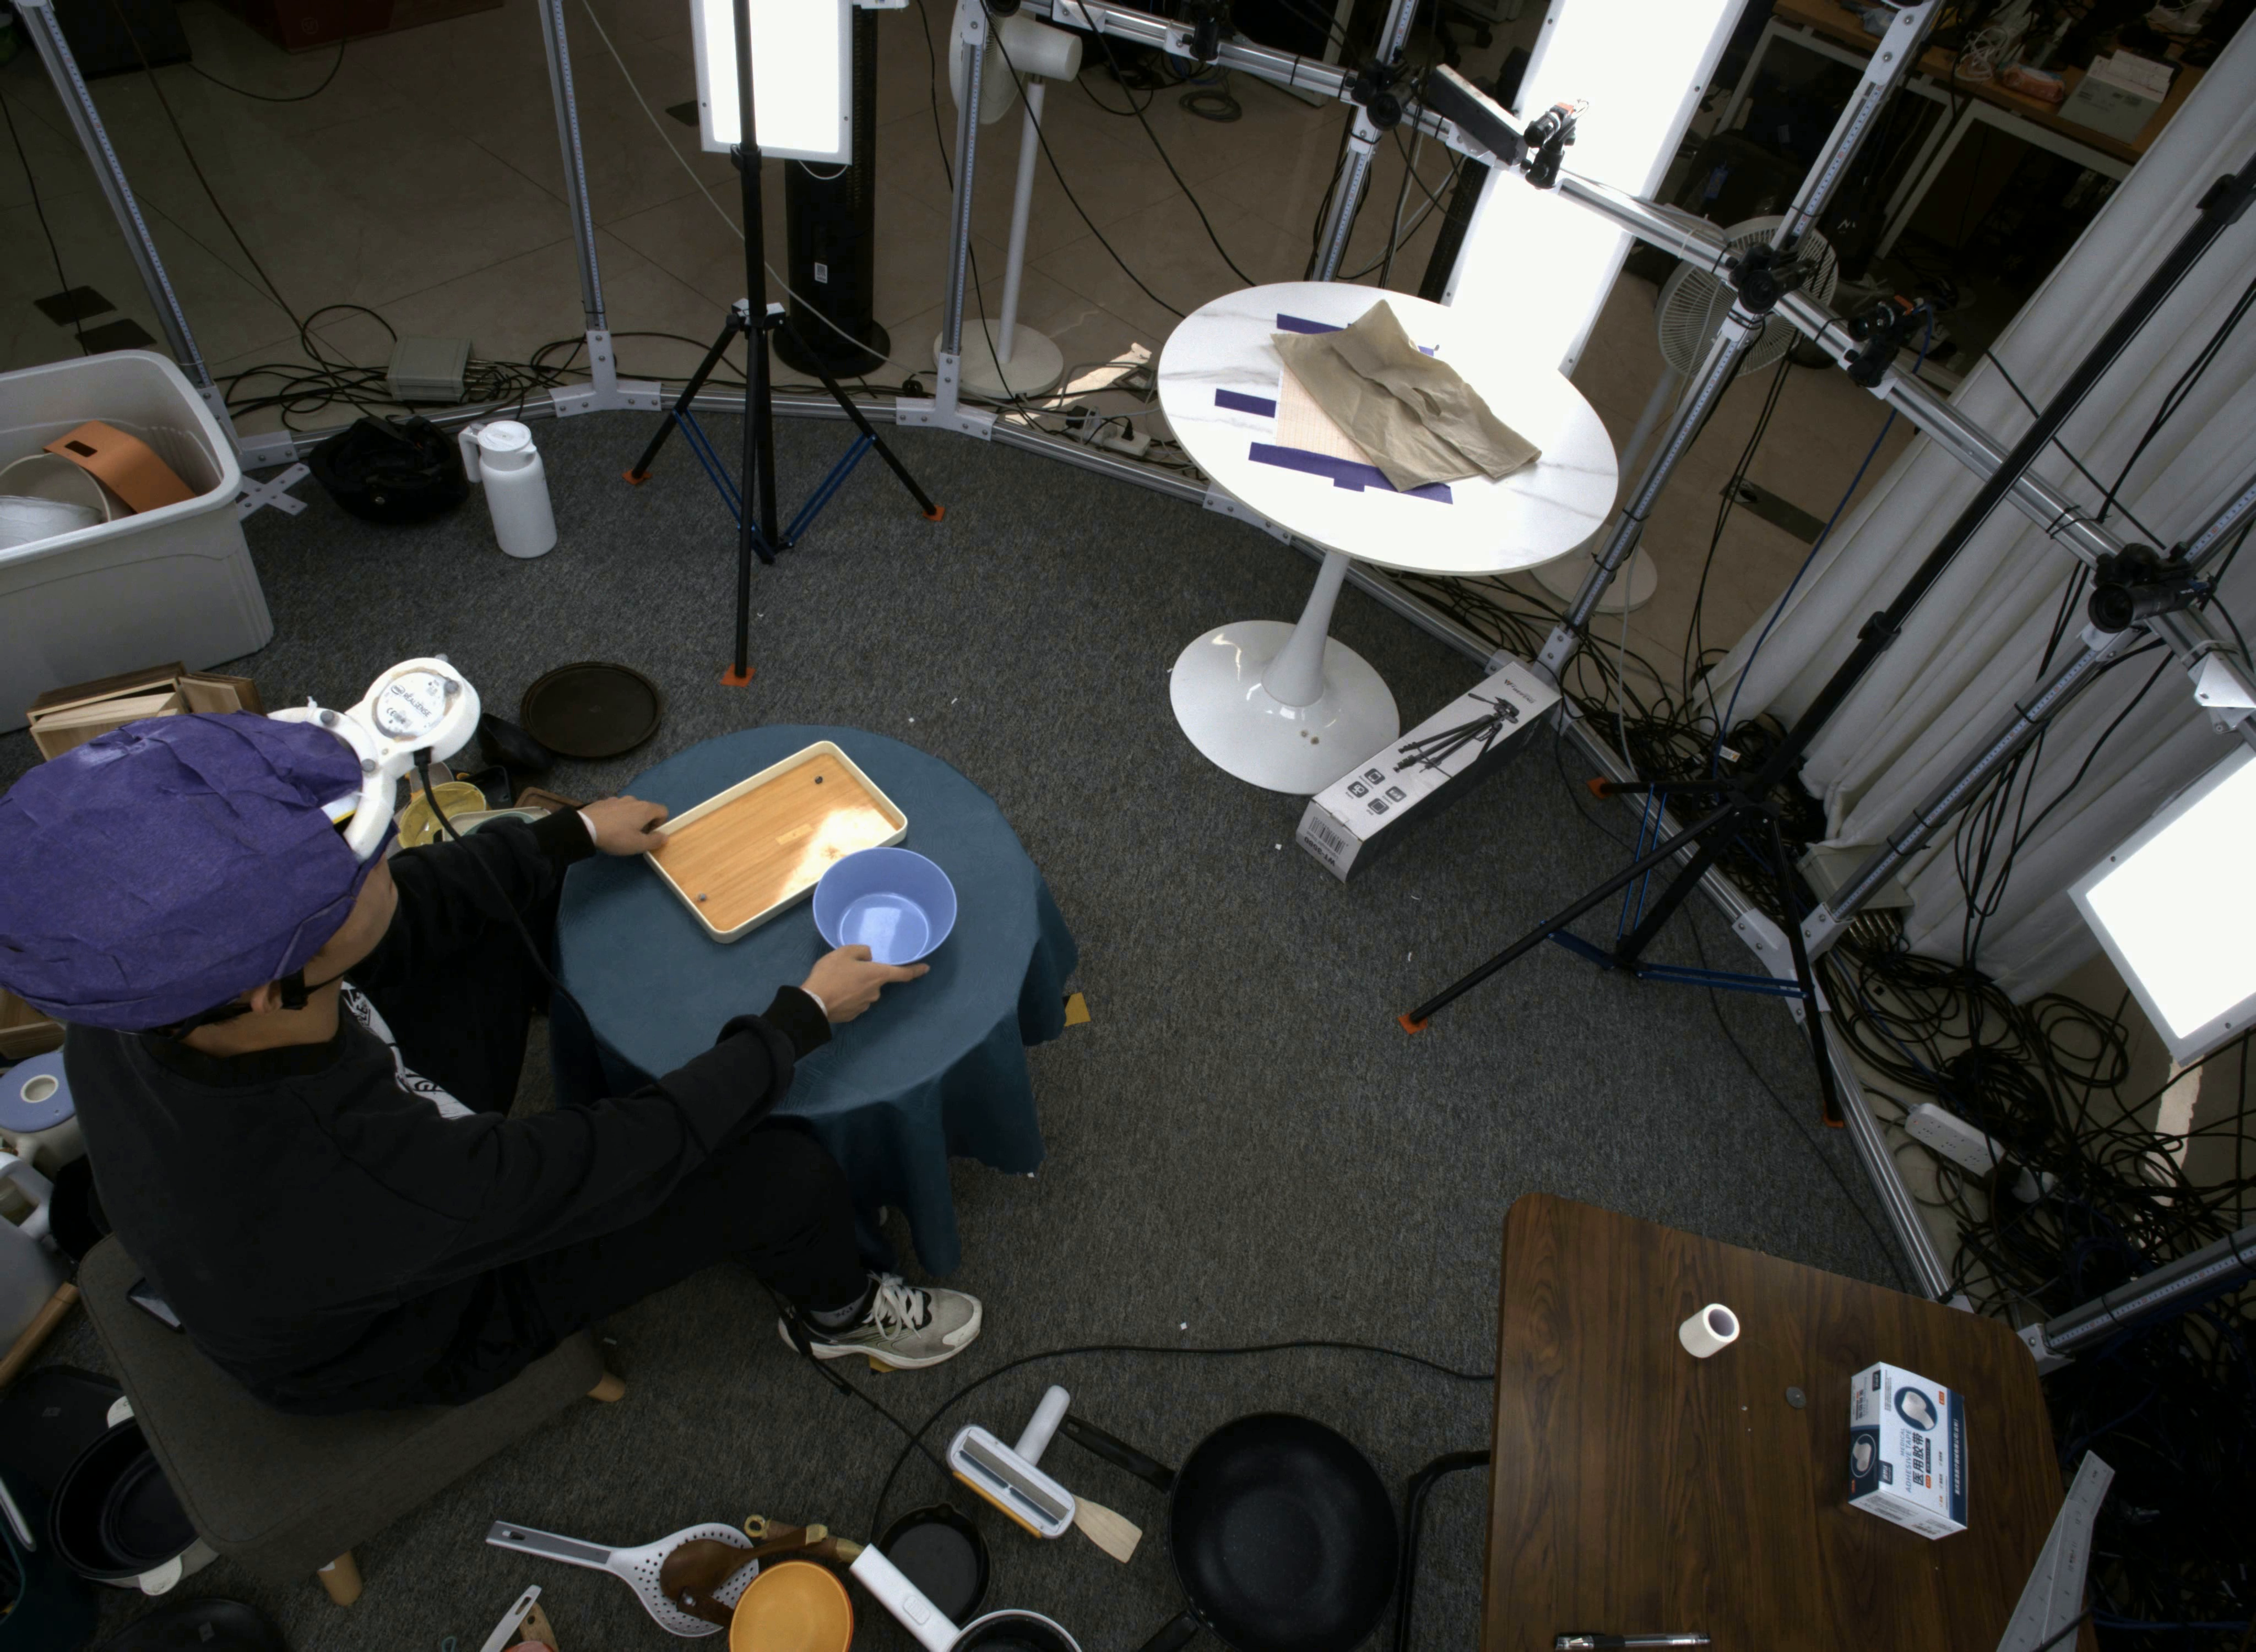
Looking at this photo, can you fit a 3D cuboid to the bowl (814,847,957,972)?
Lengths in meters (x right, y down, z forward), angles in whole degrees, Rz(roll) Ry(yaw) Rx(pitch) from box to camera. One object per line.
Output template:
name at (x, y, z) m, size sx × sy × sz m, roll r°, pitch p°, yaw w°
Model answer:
bowl at (-0.303, 0.114, 1.629) m, size 0.175 × 0.072 × 0.173 m, roll 7°, pitch 52°, yaw -7°

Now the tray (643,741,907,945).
tray at (-0.458, 0.014, 1.693) m, size 0.301 × 0.028 × 0.187 m, roll -34°, pitch 68°, yaw -33°
